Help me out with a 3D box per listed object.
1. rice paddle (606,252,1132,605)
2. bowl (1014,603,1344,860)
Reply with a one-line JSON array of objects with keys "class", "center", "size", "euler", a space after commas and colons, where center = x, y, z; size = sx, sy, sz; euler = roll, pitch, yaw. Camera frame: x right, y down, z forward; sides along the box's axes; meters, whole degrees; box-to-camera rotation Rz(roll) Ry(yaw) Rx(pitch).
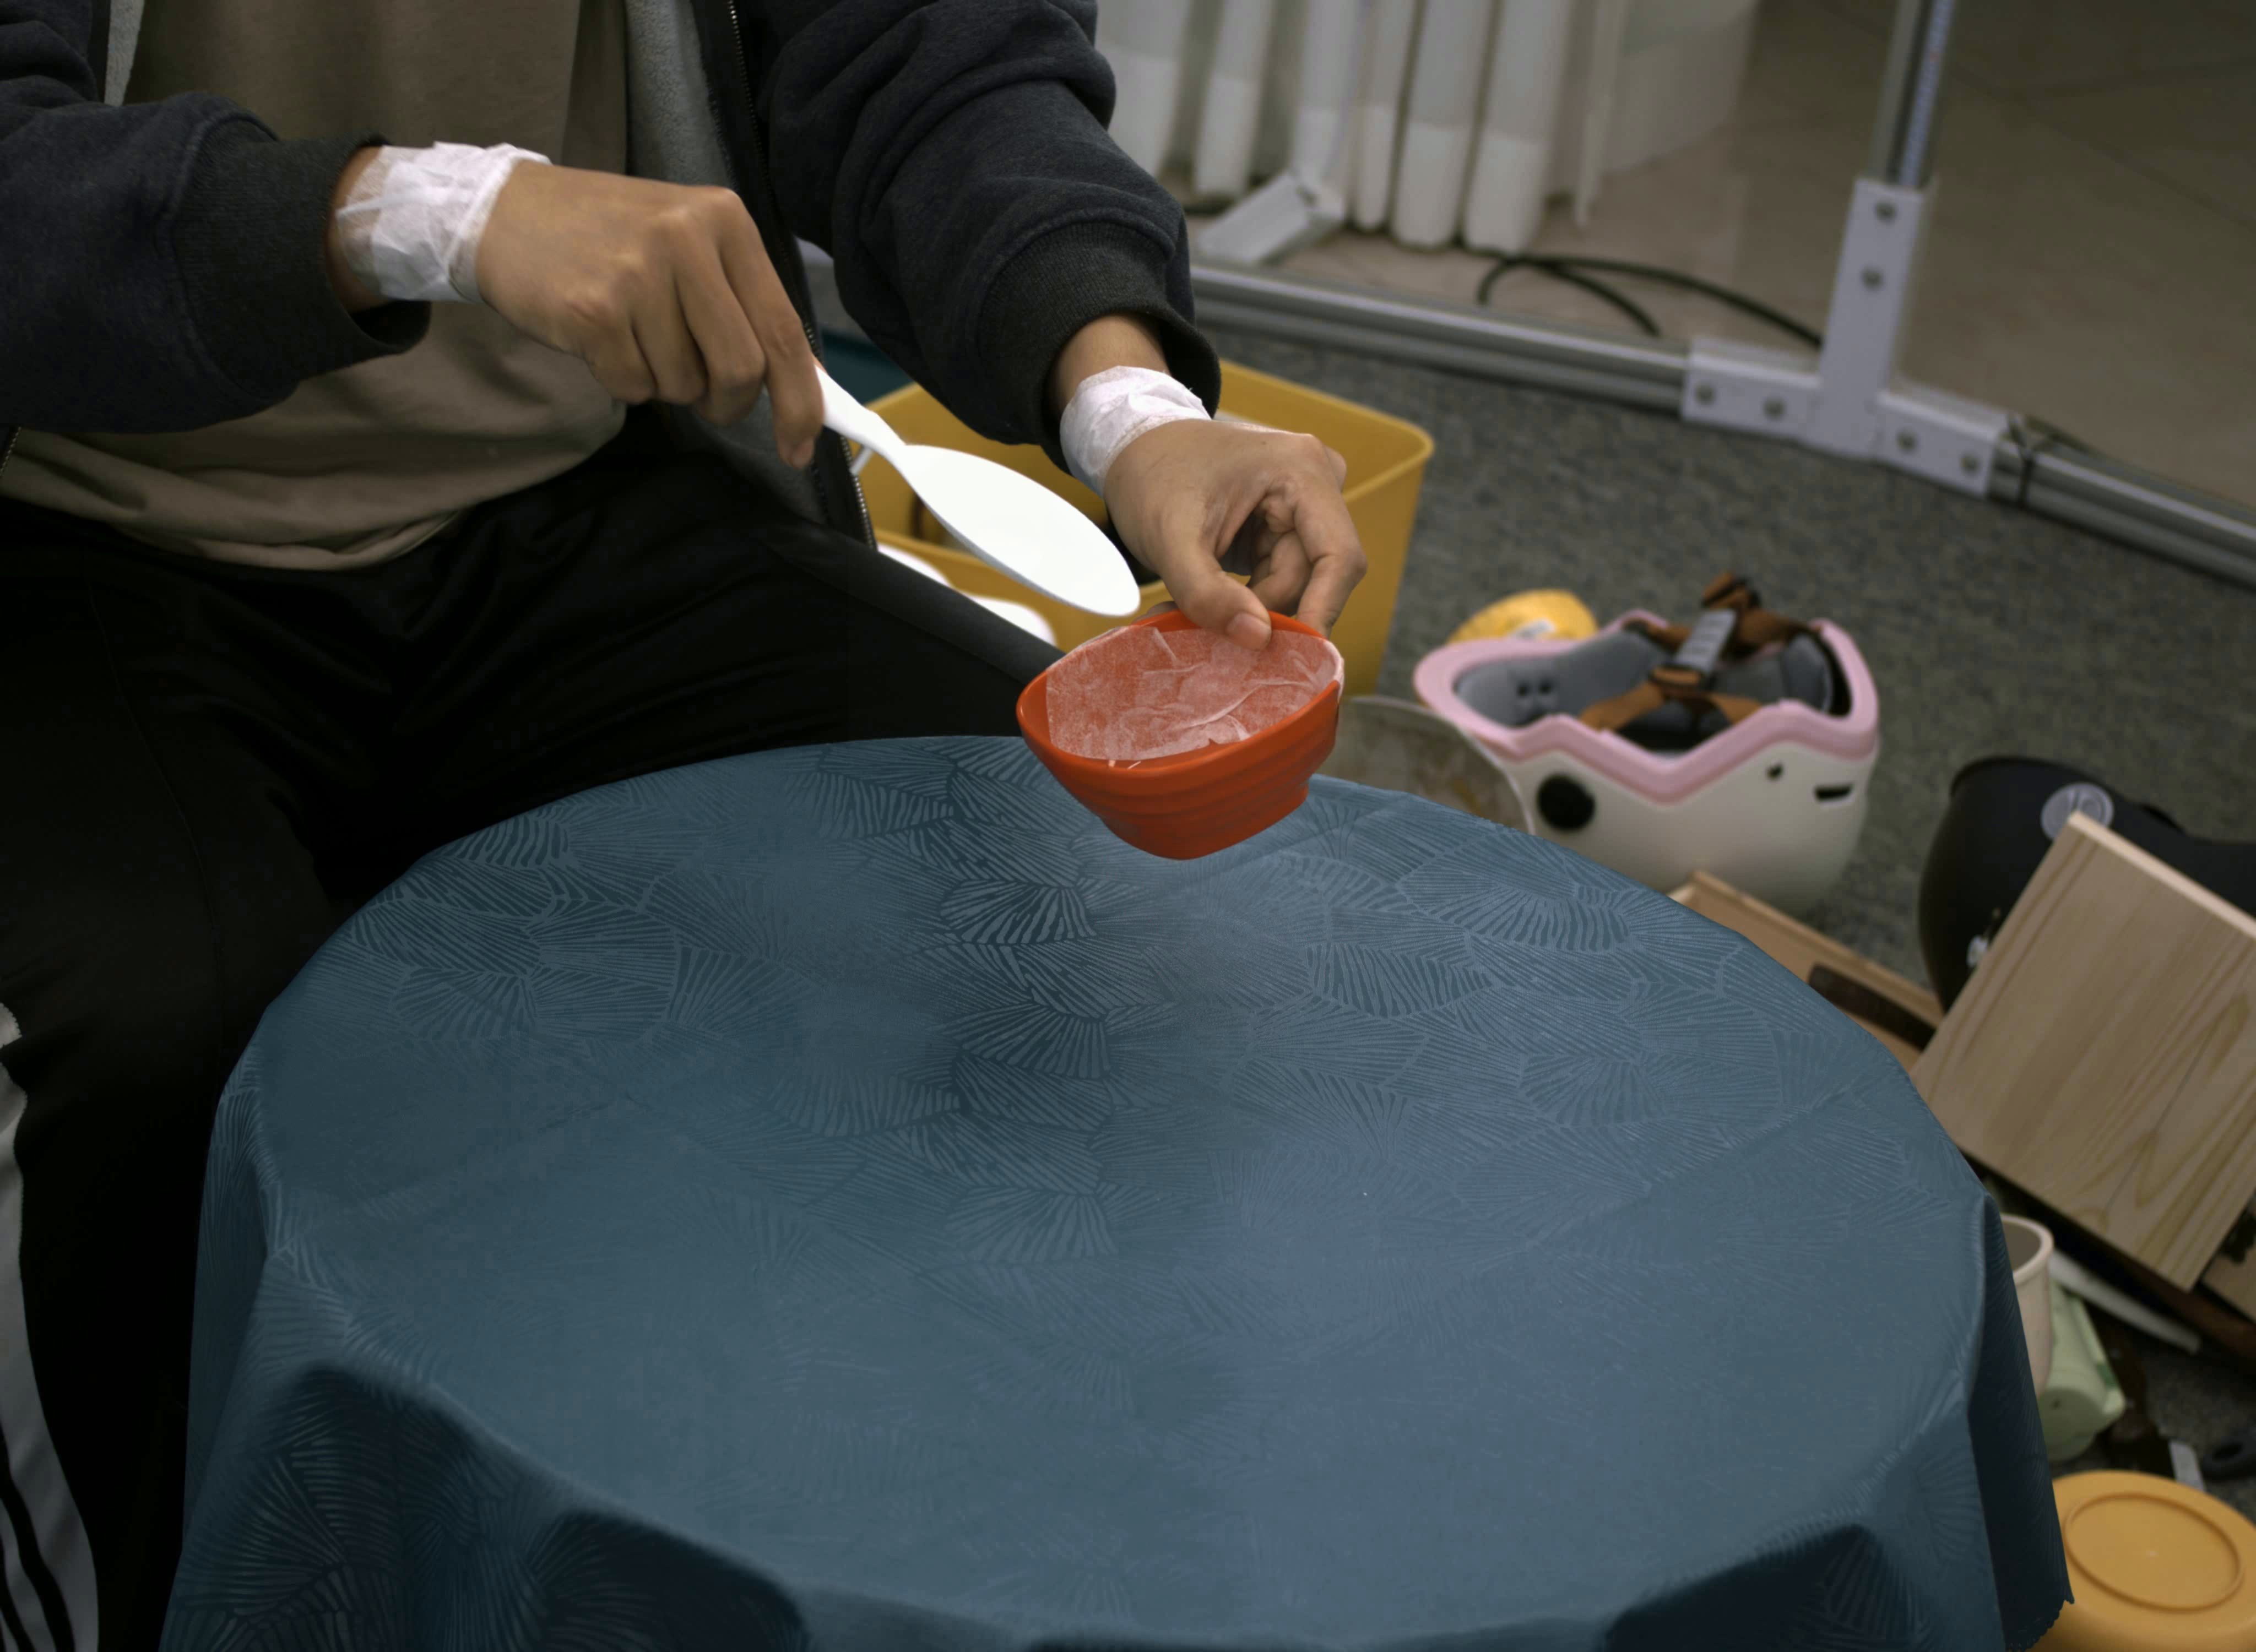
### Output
[{"class": "rice paddle", "center": [-0.084, -0.134, 1.833], "size": [0.204, 0.029, 0.069], "euler": [30, 29, -11]}, {"class": "bowl", "center": [0.022, -0.030, 1.886], "size": [0.119, 0.051, 0.119], "euler": [-10, 29, 5]}]
